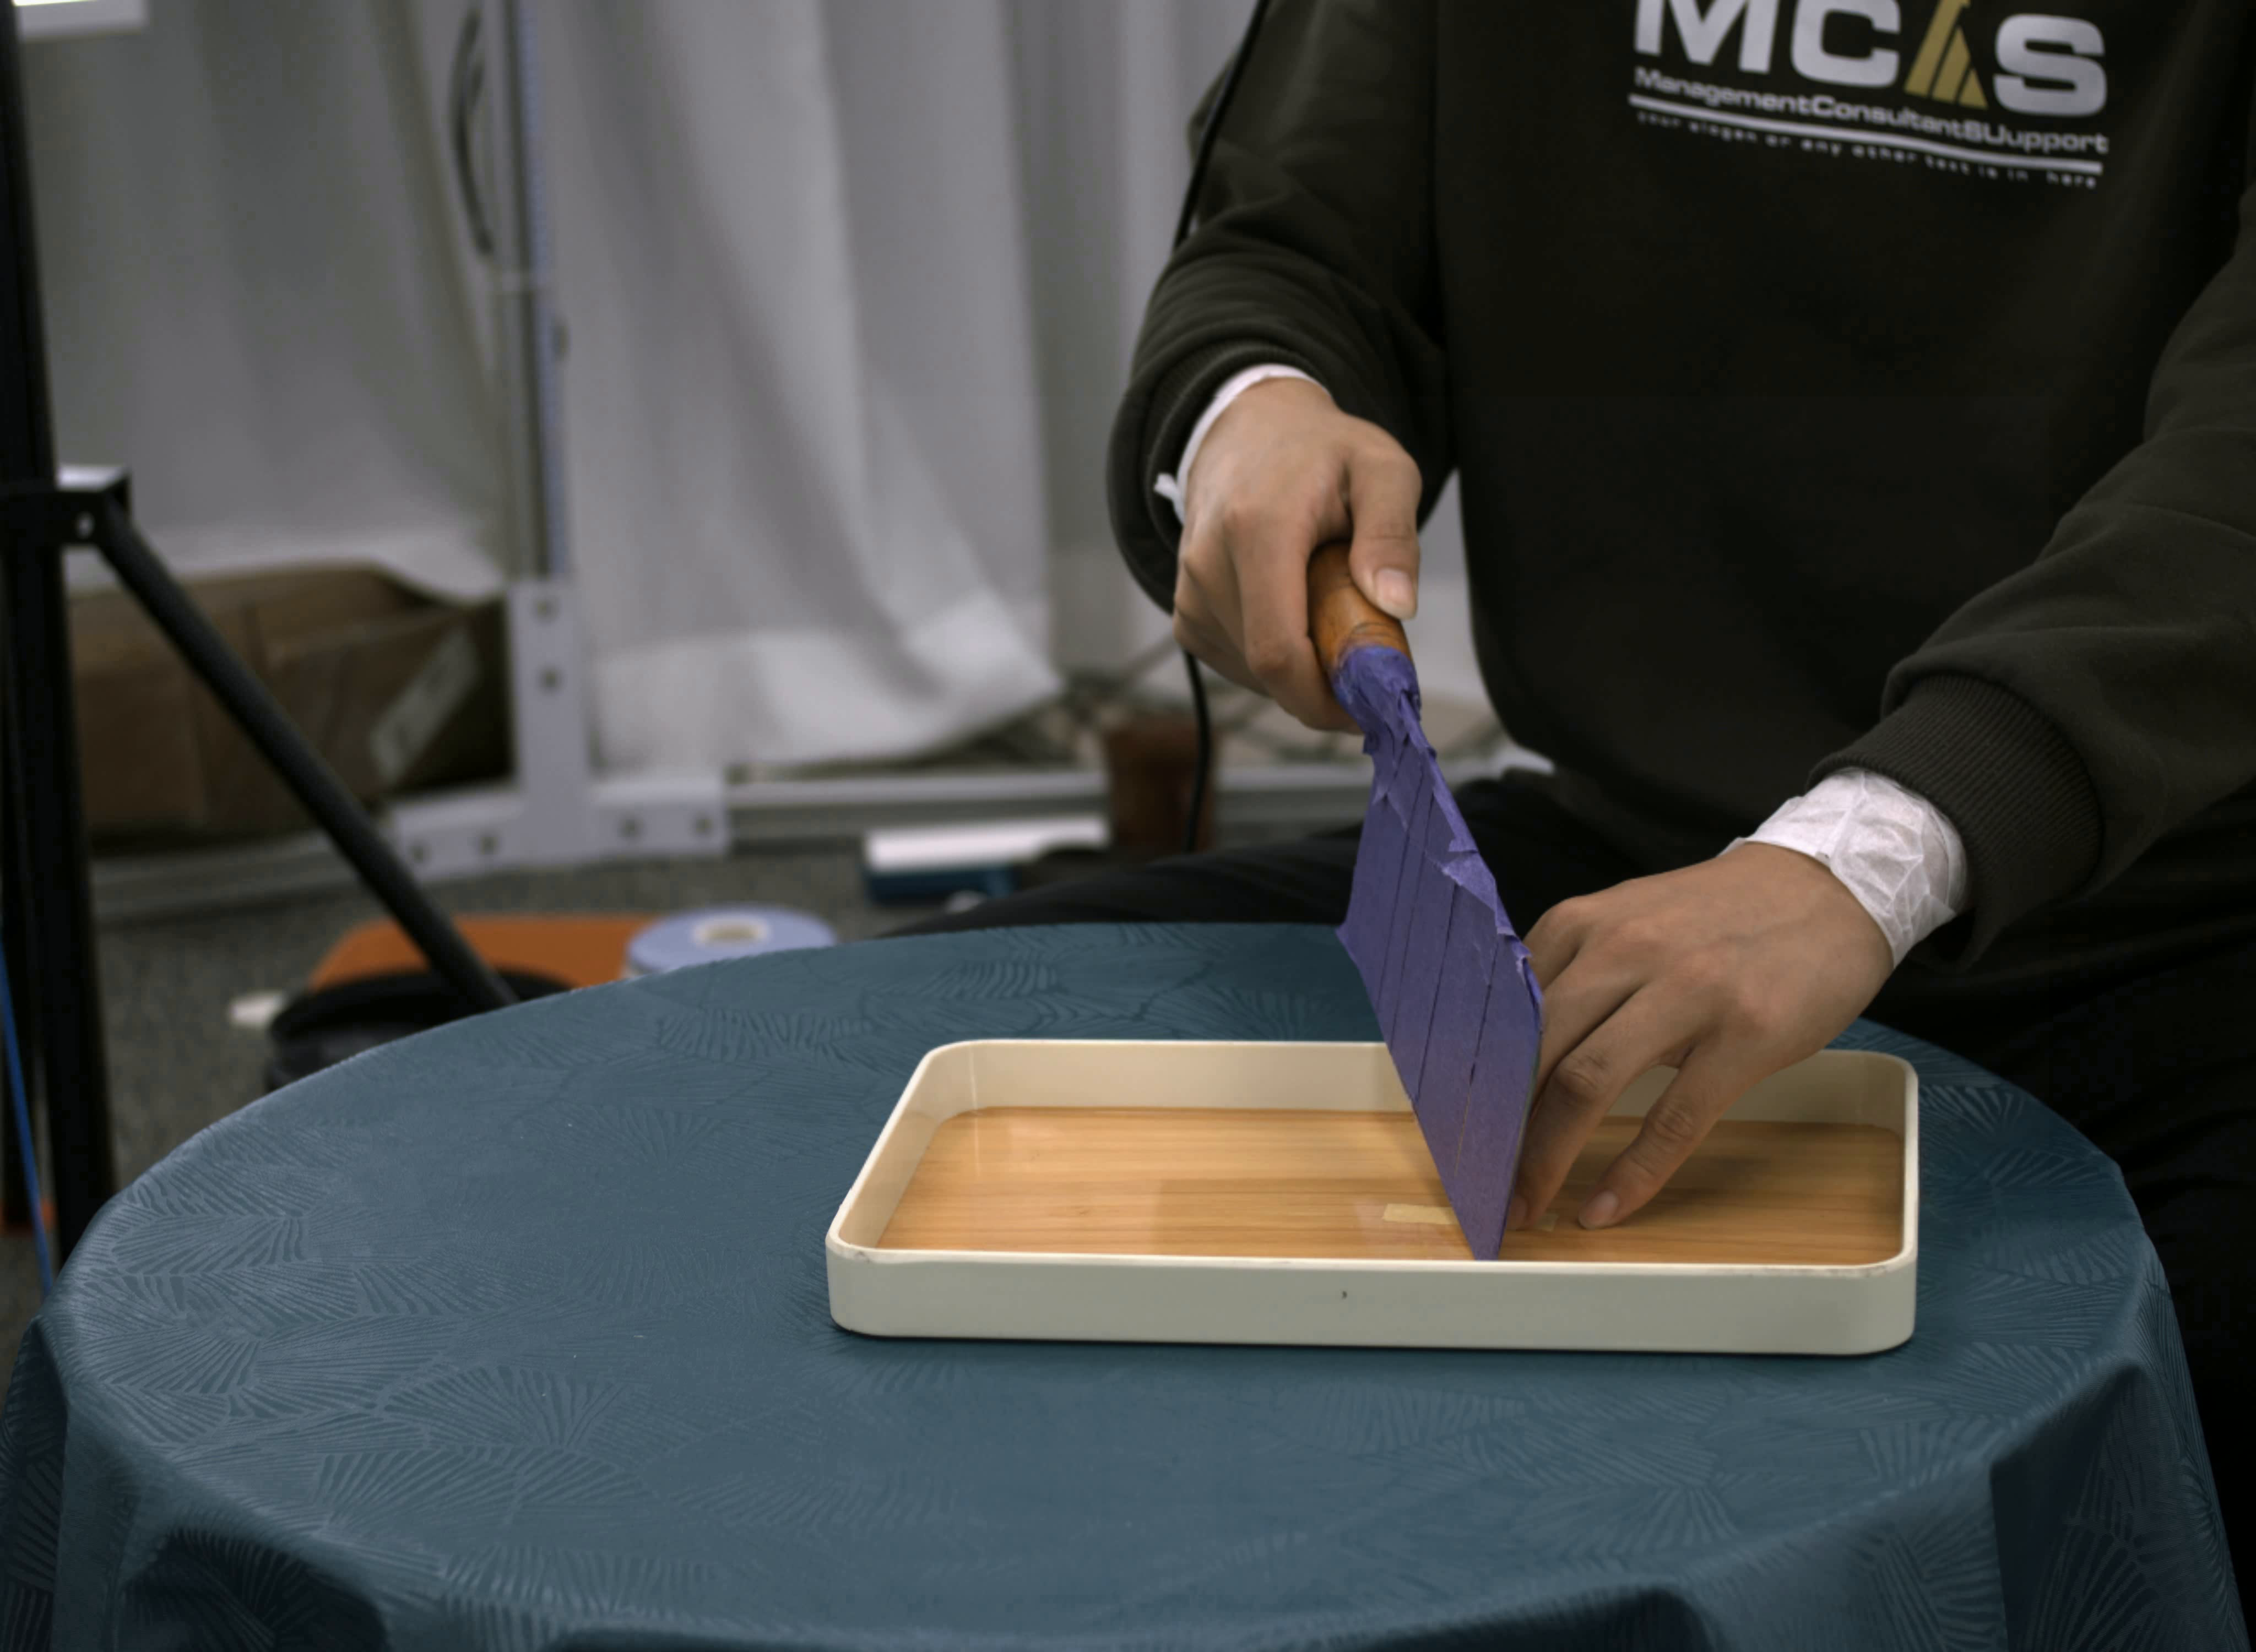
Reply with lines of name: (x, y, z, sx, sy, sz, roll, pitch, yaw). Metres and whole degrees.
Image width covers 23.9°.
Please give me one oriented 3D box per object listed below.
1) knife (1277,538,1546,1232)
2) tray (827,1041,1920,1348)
knife: (0.077, 0.015, 1.574, 0.032, 0.104, 0.319, 6, 25, -11)
tray: (0.075, 0.104, 1.515, 0.301, 0.027, 0.191, 0, 15, 10)
